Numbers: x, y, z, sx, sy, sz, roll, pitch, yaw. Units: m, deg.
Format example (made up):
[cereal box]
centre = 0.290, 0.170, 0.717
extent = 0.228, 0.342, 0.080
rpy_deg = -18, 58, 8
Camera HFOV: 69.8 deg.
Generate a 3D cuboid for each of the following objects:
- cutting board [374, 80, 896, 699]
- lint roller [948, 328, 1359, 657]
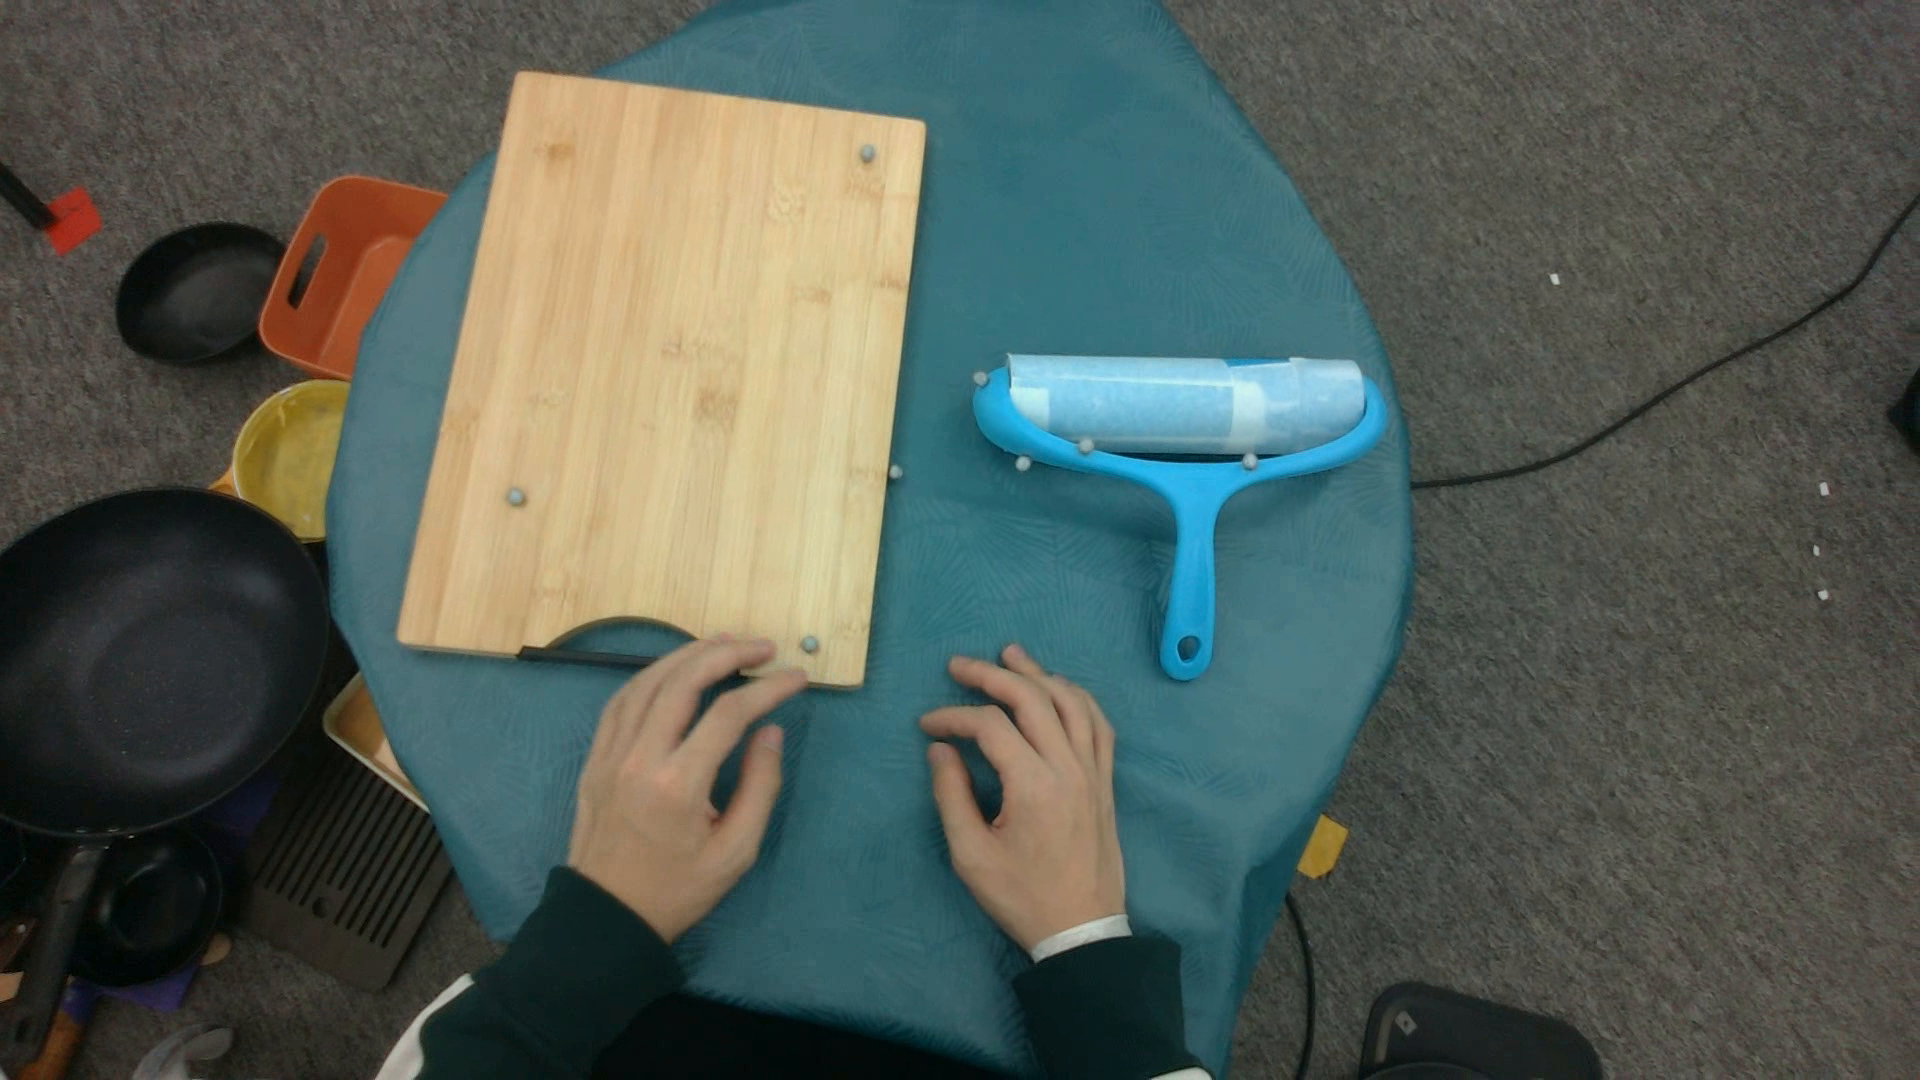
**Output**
[cutting board]
centre = -0.169, -0.091, 0.765
extent = 0.251, 0.023, 0.349
rpy_deg = 3, 73, -3
[lint roller]
centre = 0.113, -0.031, 0.748
extent = 0.229, 0.068, 0.180
rpy_deg = -4, 74, -7
